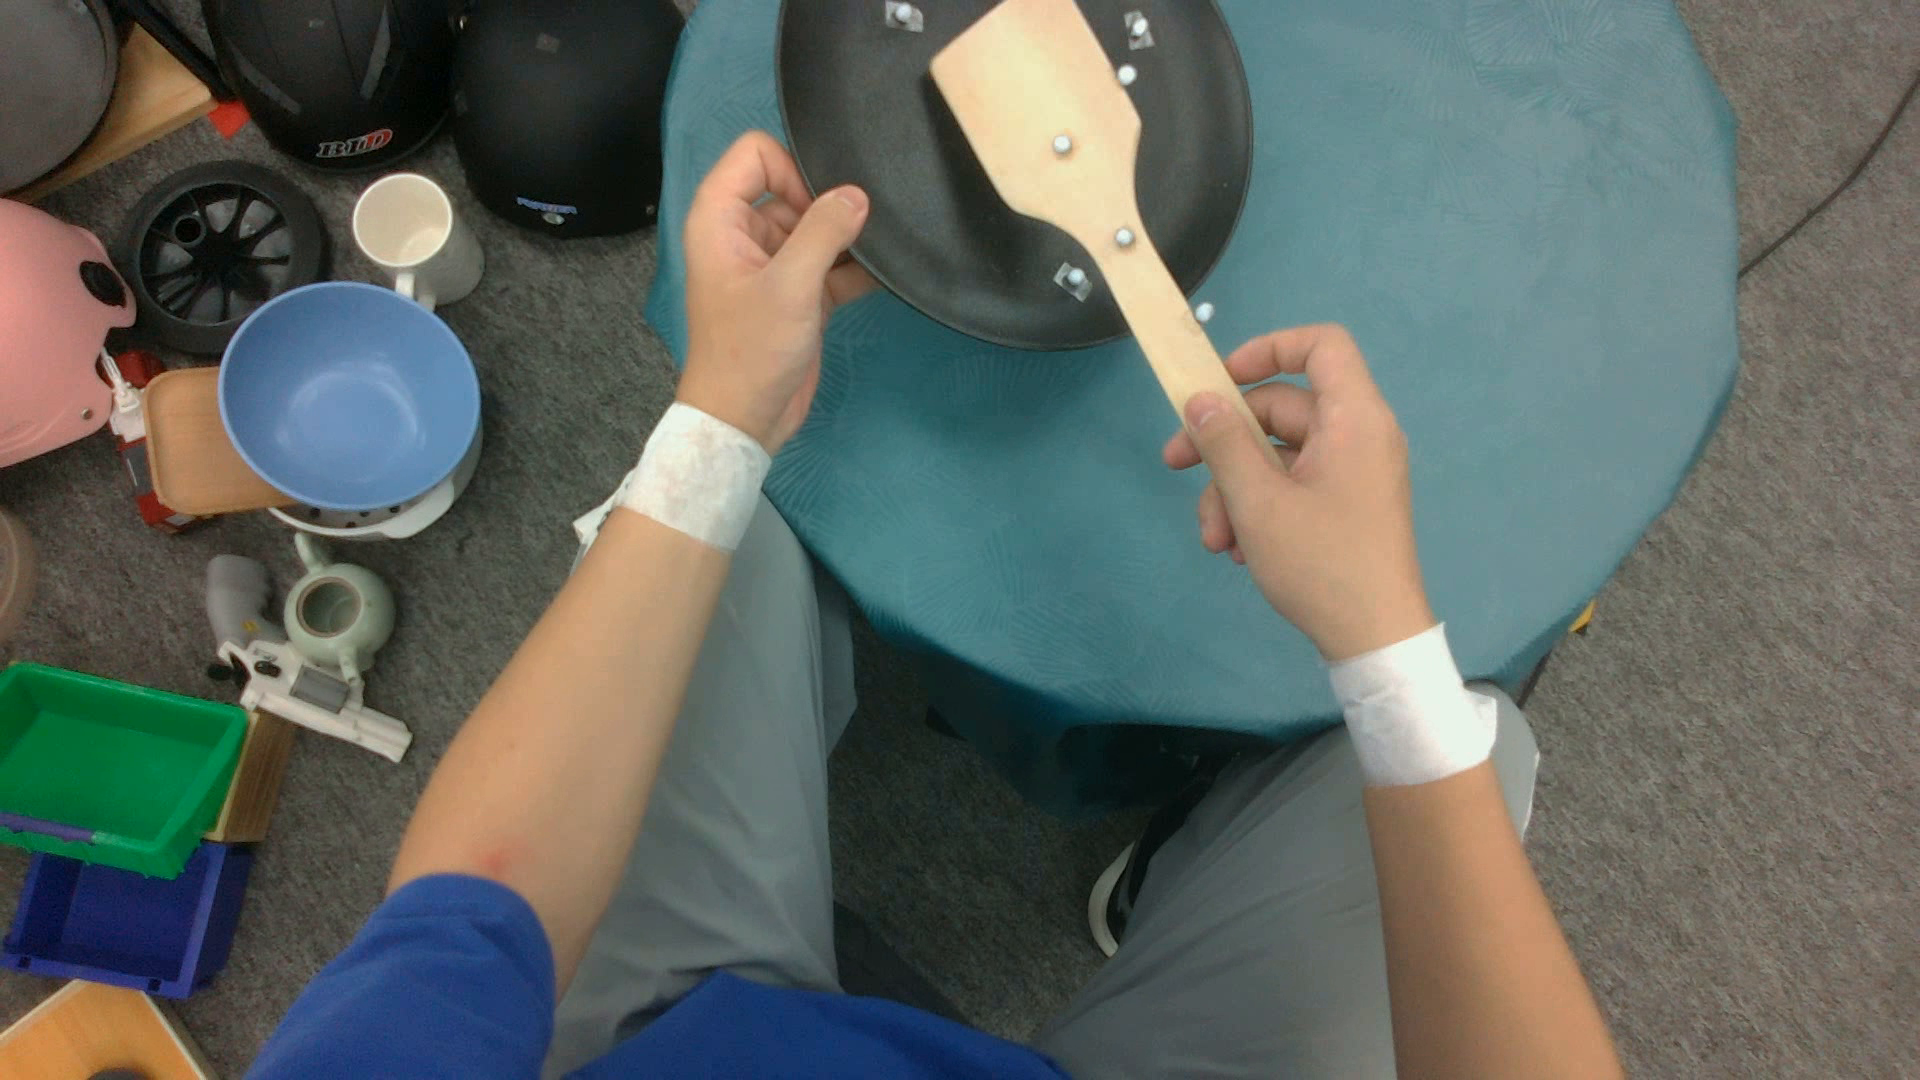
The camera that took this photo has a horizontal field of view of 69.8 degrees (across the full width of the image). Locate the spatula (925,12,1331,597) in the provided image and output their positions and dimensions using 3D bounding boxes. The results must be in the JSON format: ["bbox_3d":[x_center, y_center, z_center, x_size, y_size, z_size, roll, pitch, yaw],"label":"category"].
[{"bbox_3d":[0.079,-0.104,0.608,0.072,0.010,0.293,-32,76,12],"label":"spatula"}]

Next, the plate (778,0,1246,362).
[{"bbox_3d":[0.029,-0.204,0.673,0.245,0.023,0.244,3,81,-20],"label":"plate"}]
